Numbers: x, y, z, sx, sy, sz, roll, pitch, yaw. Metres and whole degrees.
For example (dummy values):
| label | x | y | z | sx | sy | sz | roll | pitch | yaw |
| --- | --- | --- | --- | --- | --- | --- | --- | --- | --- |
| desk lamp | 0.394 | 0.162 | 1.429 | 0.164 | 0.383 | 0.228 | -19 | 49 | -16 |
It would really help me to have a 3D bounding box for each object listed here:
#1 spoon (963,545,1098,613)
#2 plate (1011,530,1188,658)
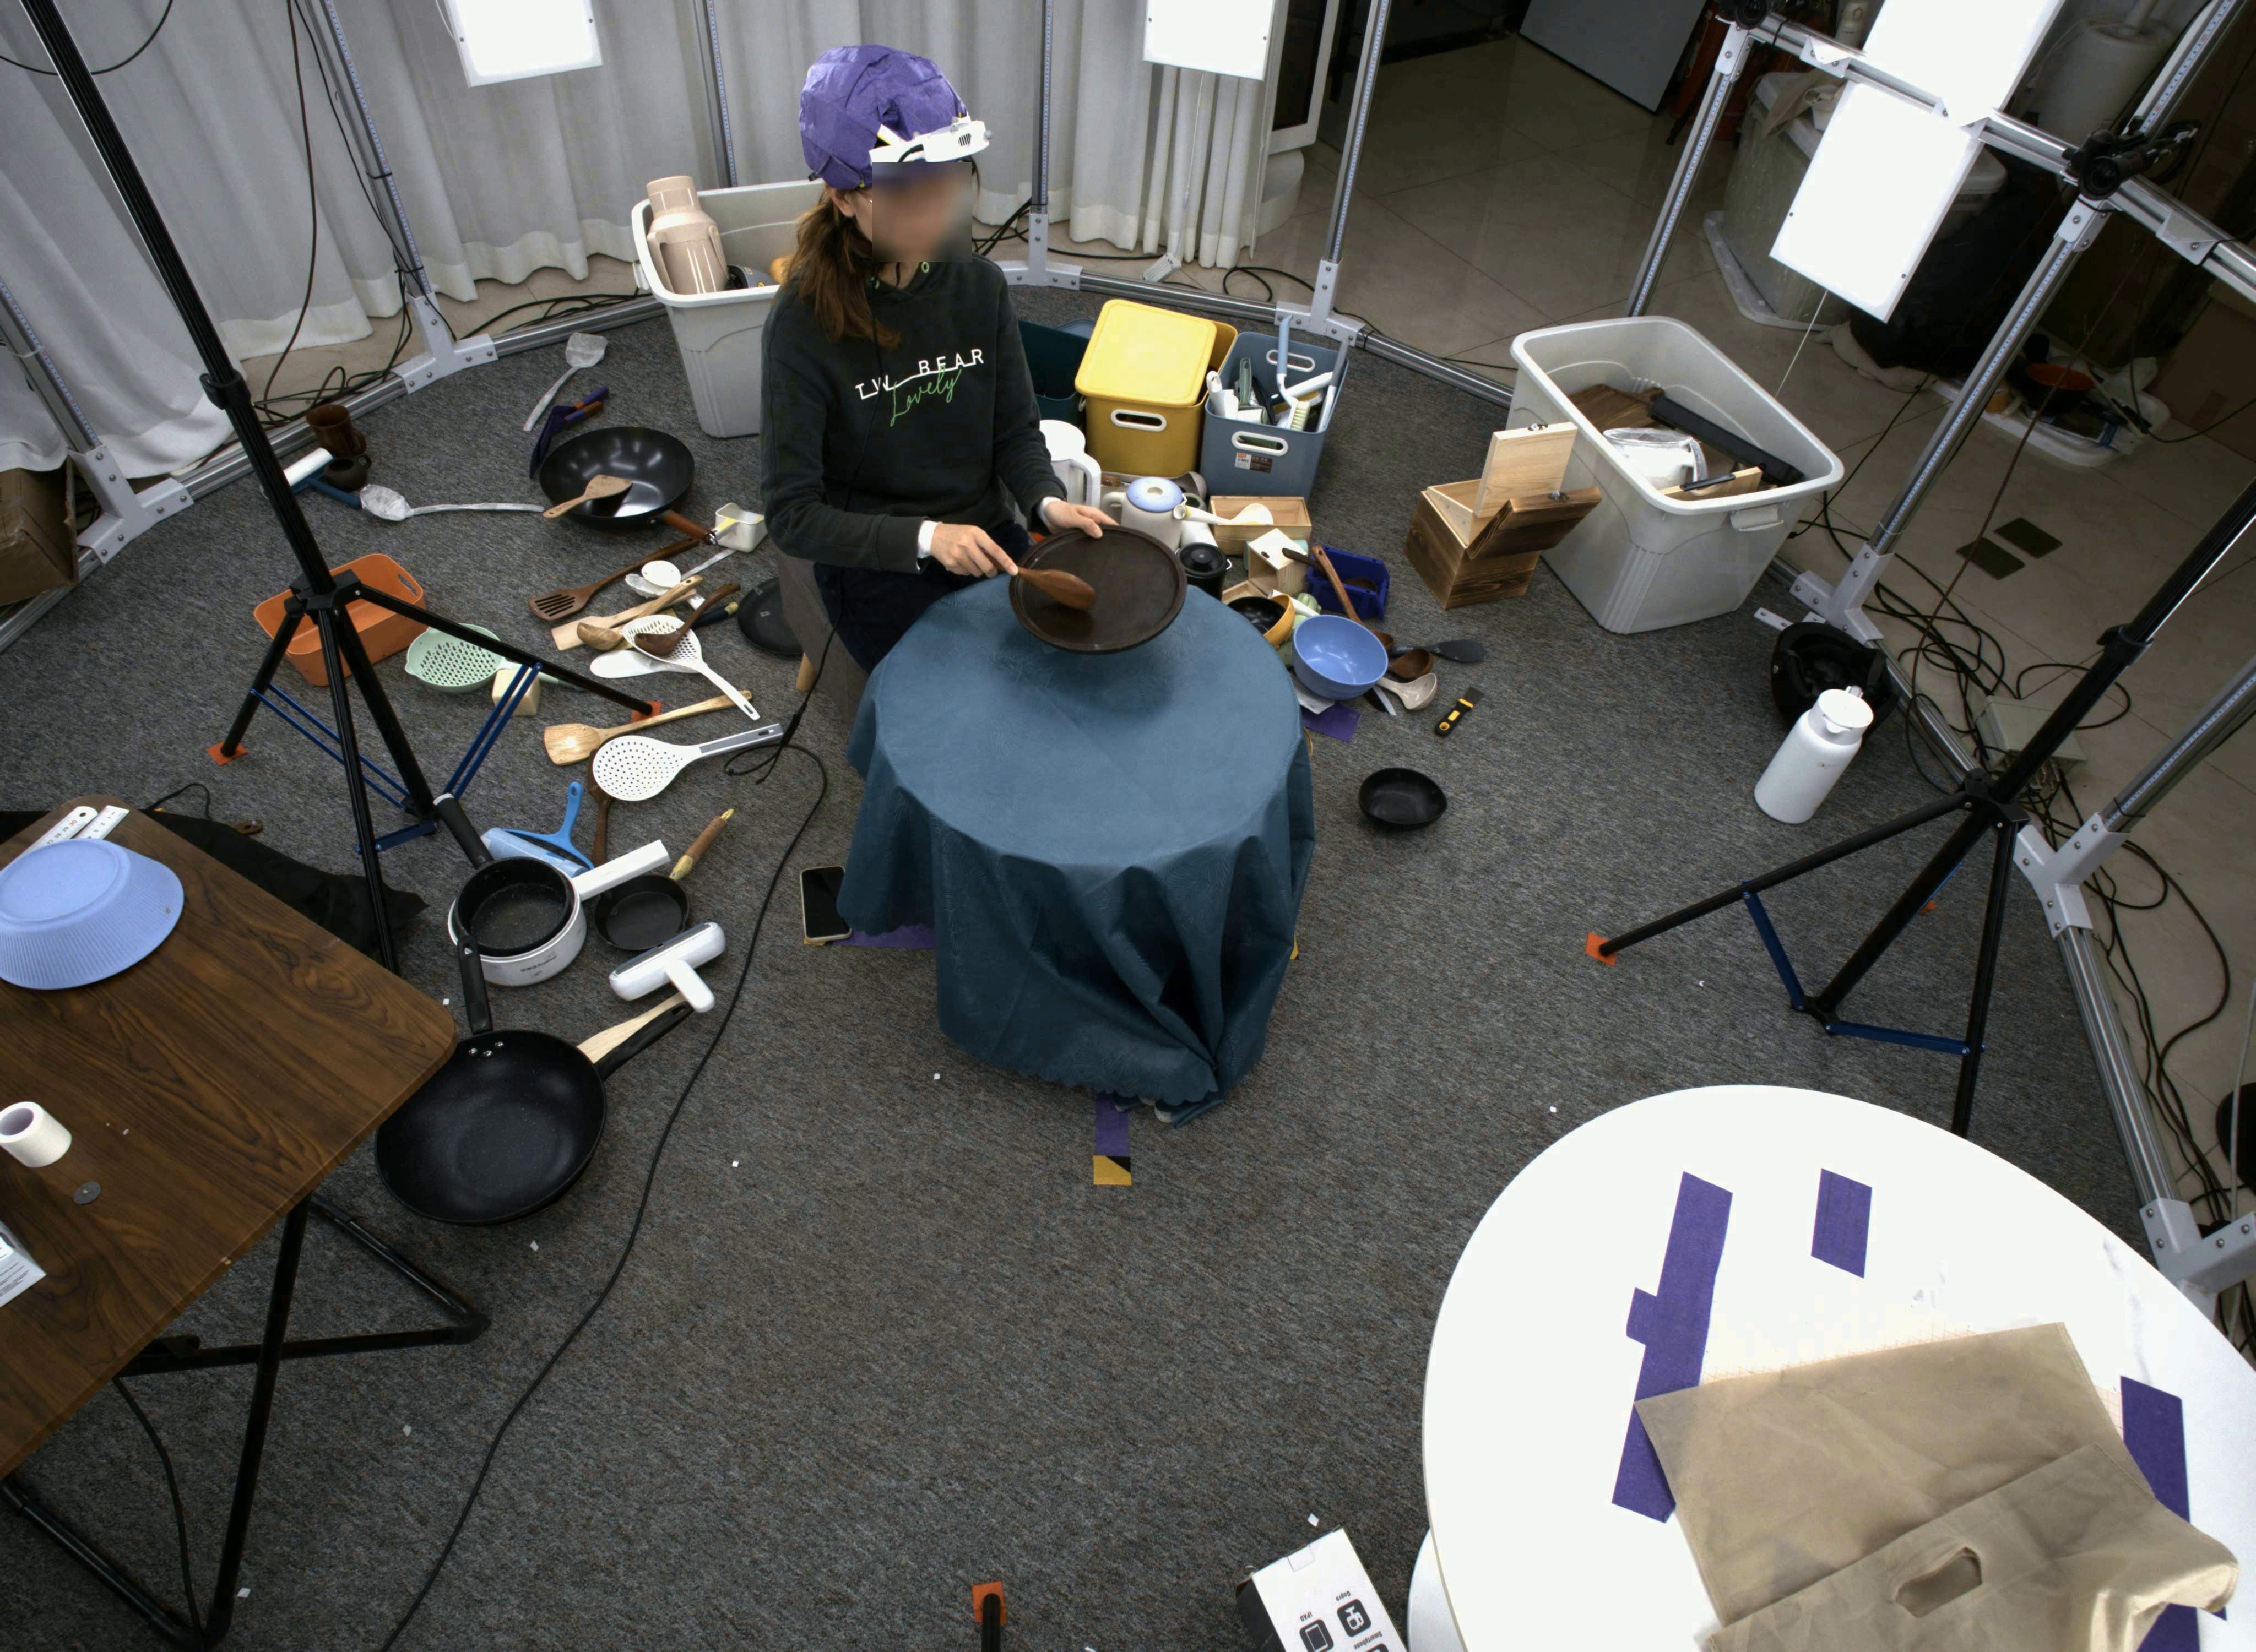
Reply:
| label | x | y | z | sx | sy | sz | roll | pitch | yaw |
| --- | --- | --- | --- | --- | --- | --- | --- | --- | --- |
| spoon | -0.139 | -0.349 | 1.818 | 0.217 | 0.074 | 0.017 | 25 | 70 | 16 |
| plate | -0.041 | -0.336 | 1.850 | 0.254 | 0.028 | 0.261 | -1 | 54 | 1 |
